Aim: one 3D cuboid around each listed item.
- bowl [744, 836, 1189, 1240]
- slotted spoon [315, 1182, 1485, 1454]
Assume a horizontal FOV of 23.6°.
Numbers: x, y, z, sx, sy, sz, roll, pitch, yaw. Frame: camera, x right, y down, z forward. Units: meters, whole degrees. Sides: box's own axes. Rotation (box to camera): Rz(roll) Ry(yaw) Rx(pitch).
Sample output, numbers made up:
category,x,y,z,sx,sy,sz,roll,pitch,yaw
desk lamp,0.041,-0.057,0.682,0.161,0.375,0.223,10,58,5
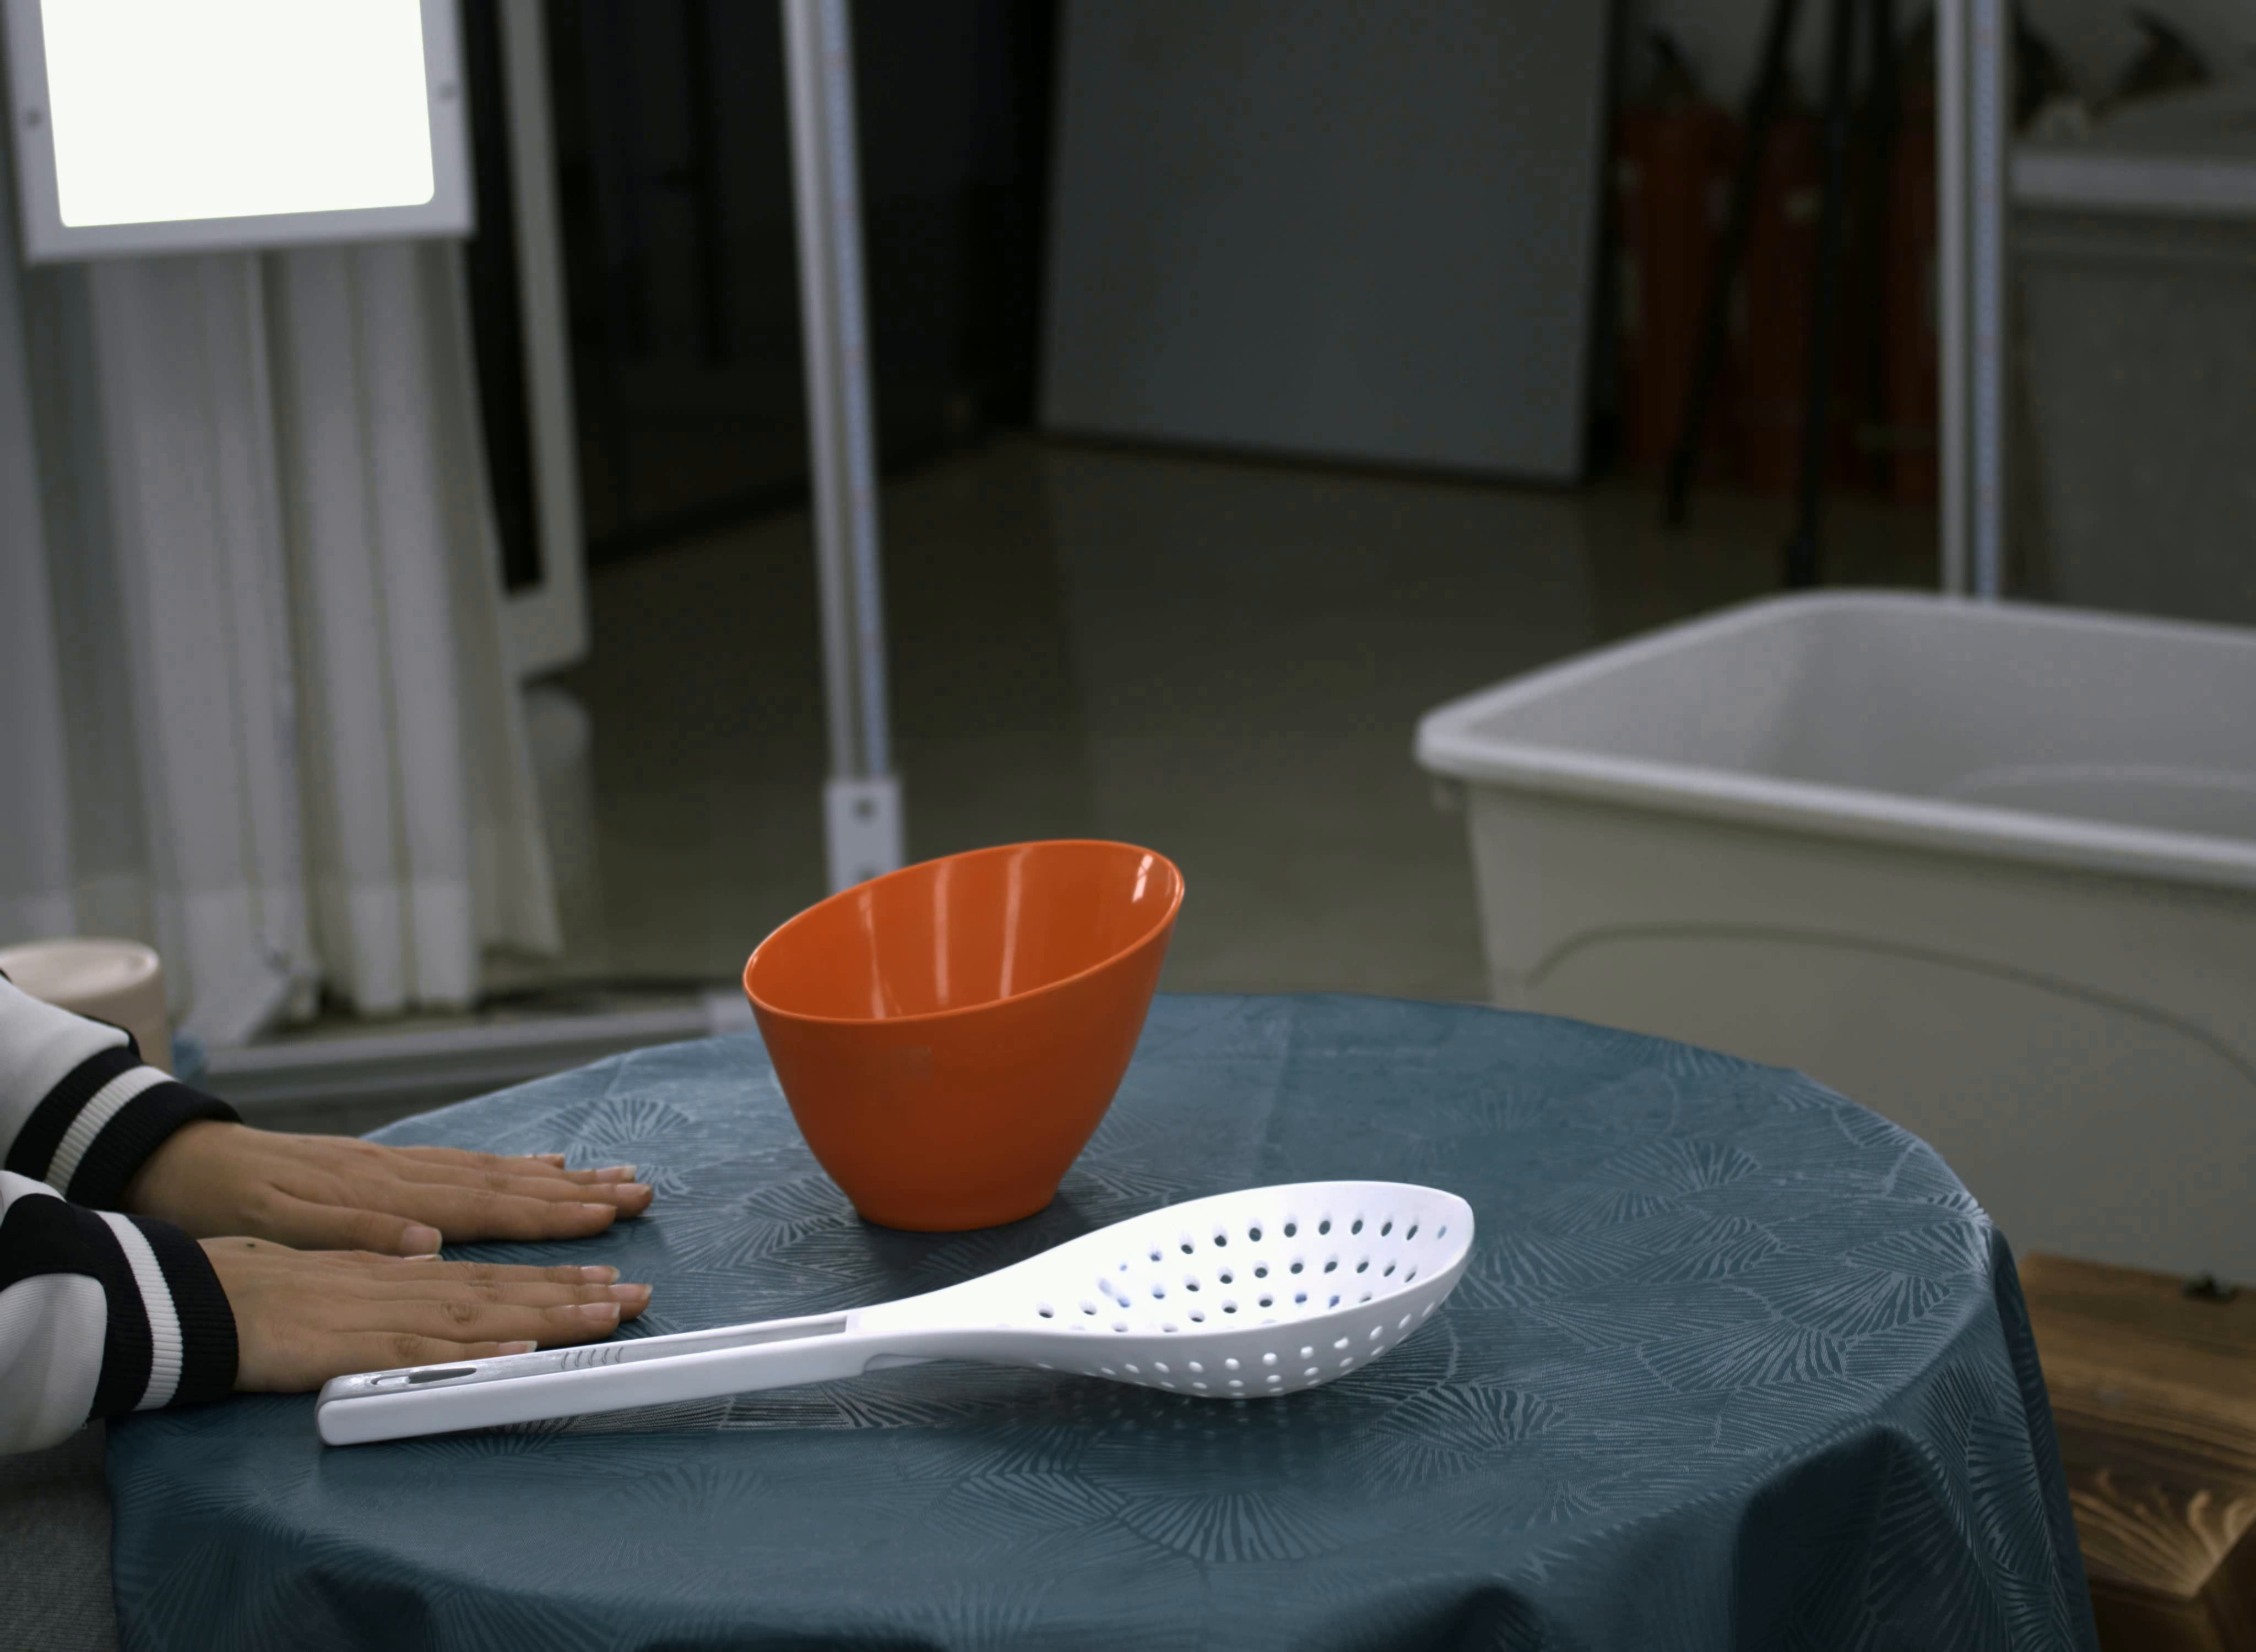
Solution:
category,x,y,z,sx,sy,sz,roll,pitch,yaw
bowl,-0.050,0.073,1.765,0.146,0.106,0.148,-3,17,0
slotted spoon,-0.067,0.149,1.582,0.345,0.046,0.136,-4,12,2
